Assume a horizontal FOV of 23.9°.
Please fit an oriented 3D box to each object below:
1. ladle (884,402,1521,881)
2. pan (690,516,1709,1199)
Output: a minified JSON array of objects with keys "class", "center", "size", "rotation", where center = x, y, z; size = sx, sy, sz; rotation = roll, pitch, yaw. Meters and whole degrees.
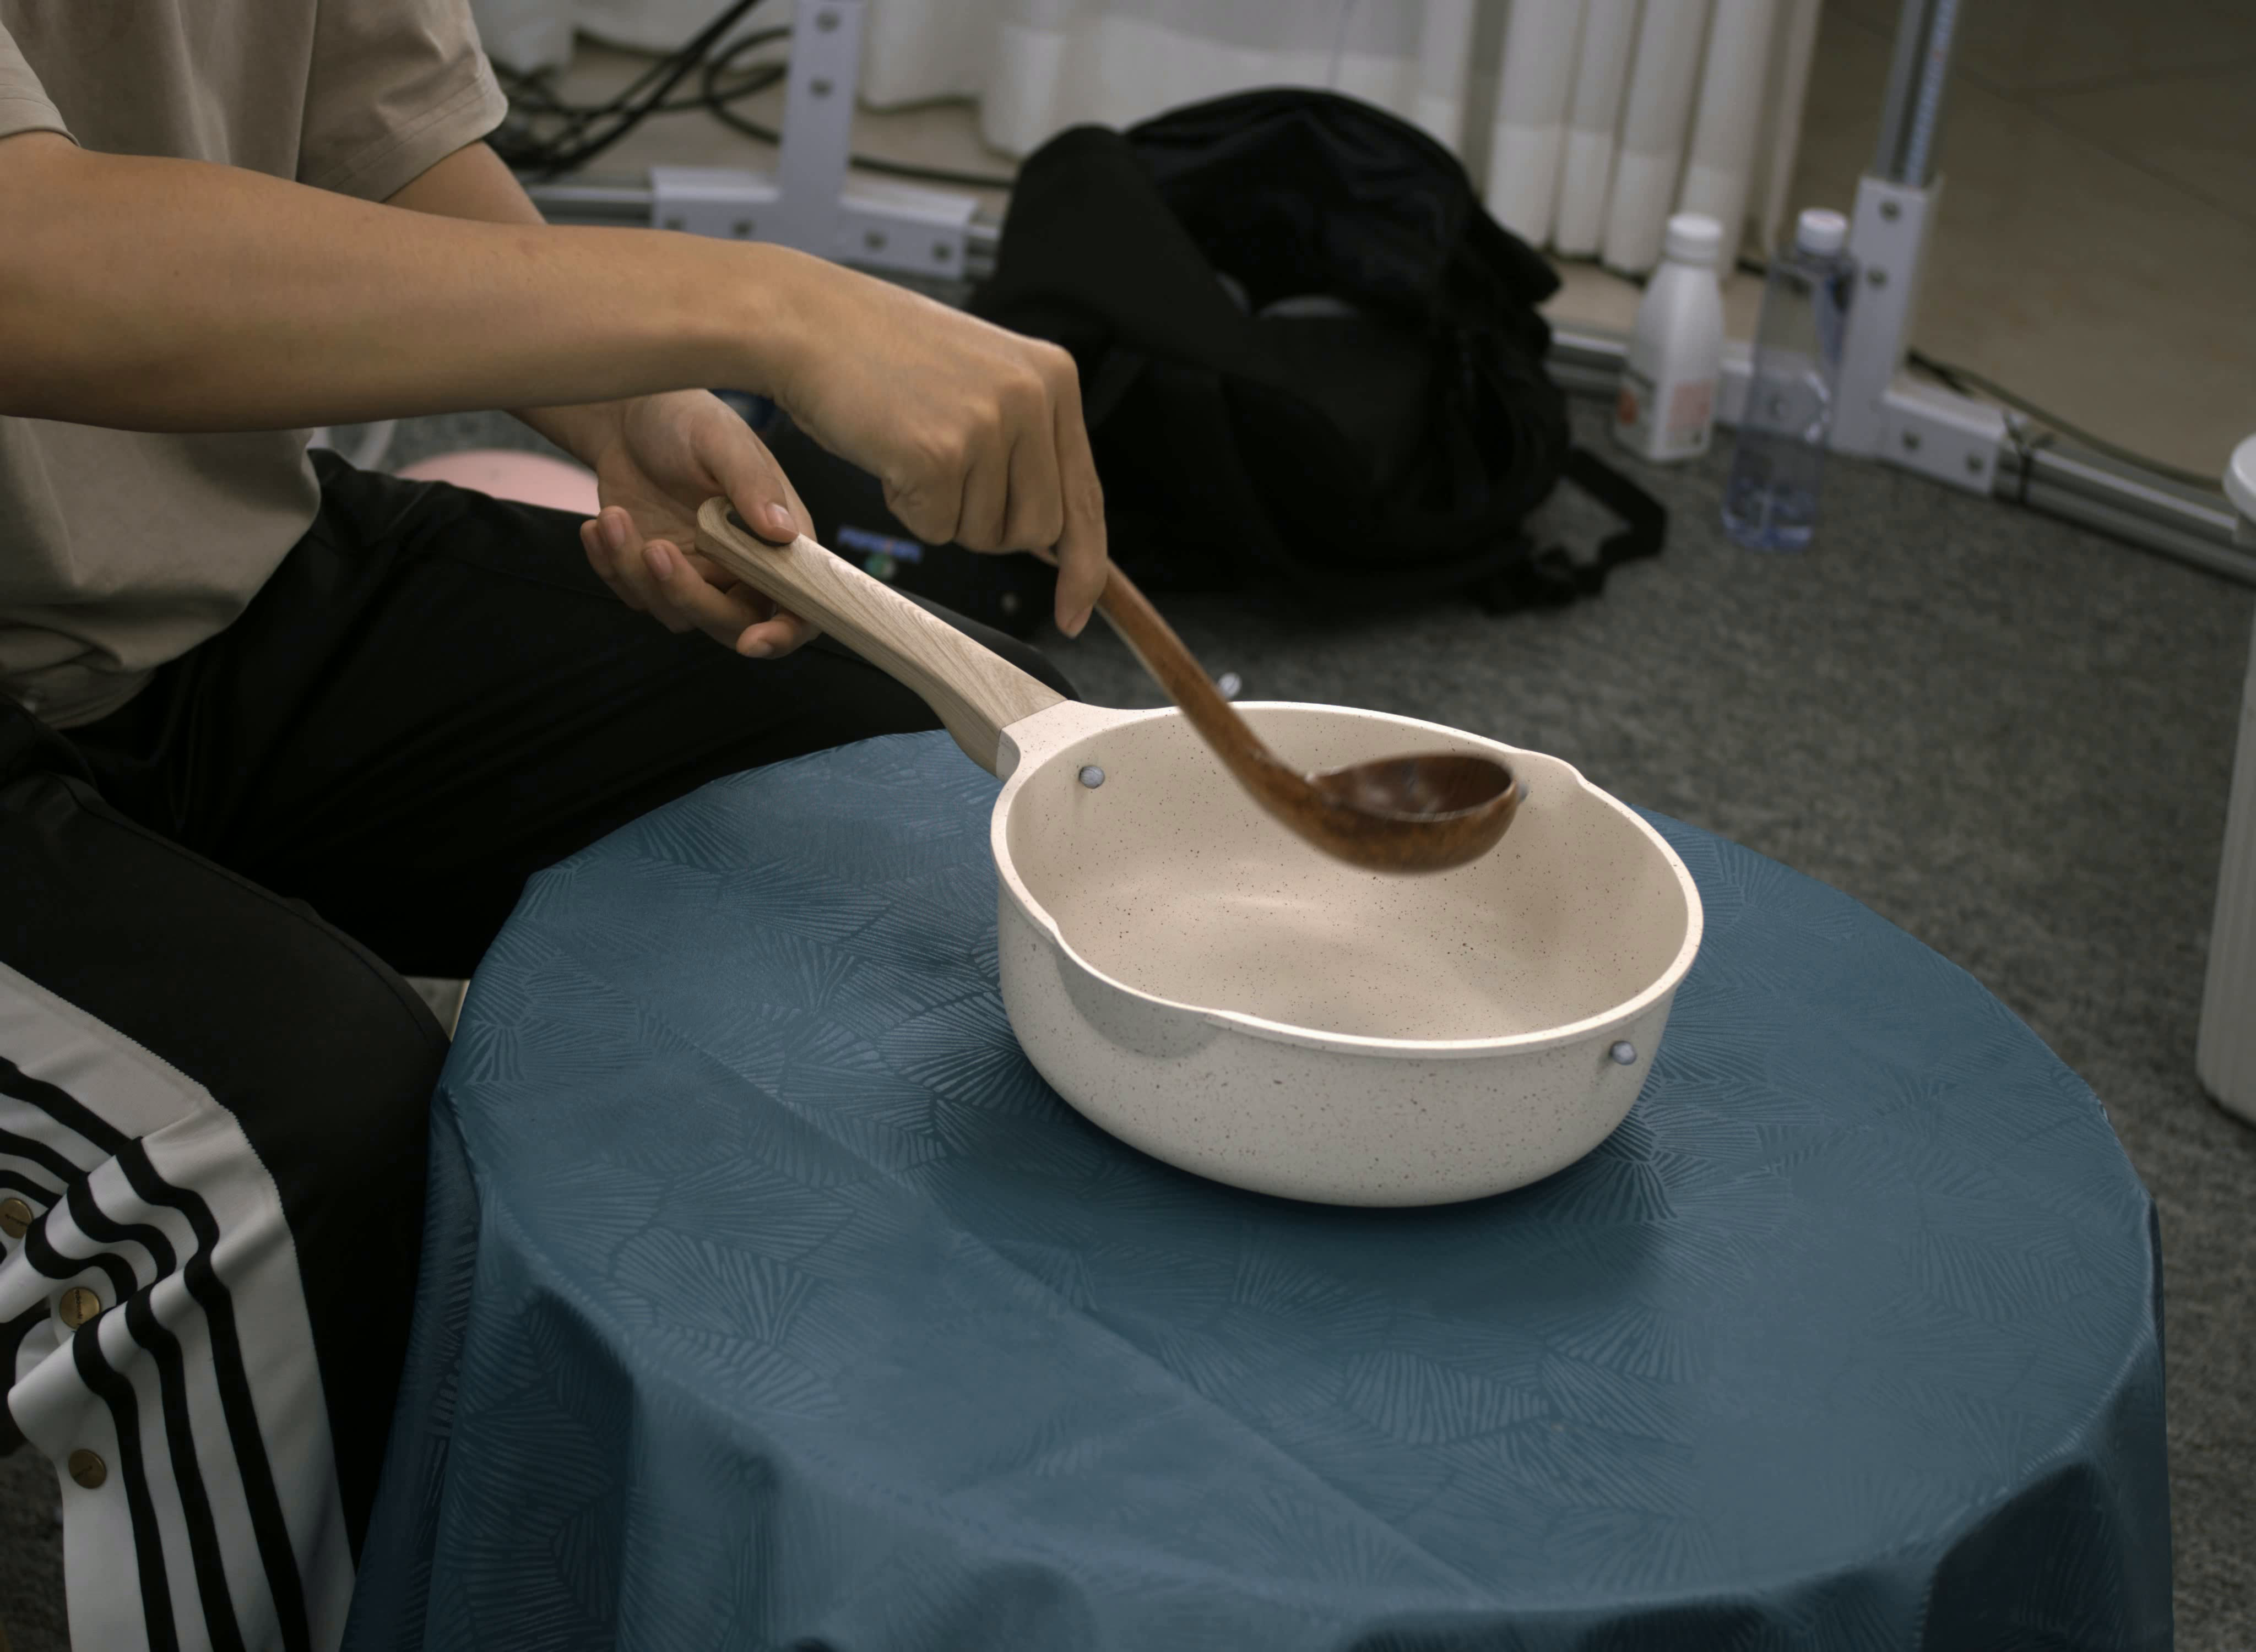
[{"class":"ladle","center":[0.032,-0.074,1.847],"size":[0.076,0.272,0.082],"rotation":[-49,24,-11]},{"class":"pan","center":[0.005,0.006,1.927],"size":[0.438,0.101,0.262],"rotation":[25,34,32]}]
